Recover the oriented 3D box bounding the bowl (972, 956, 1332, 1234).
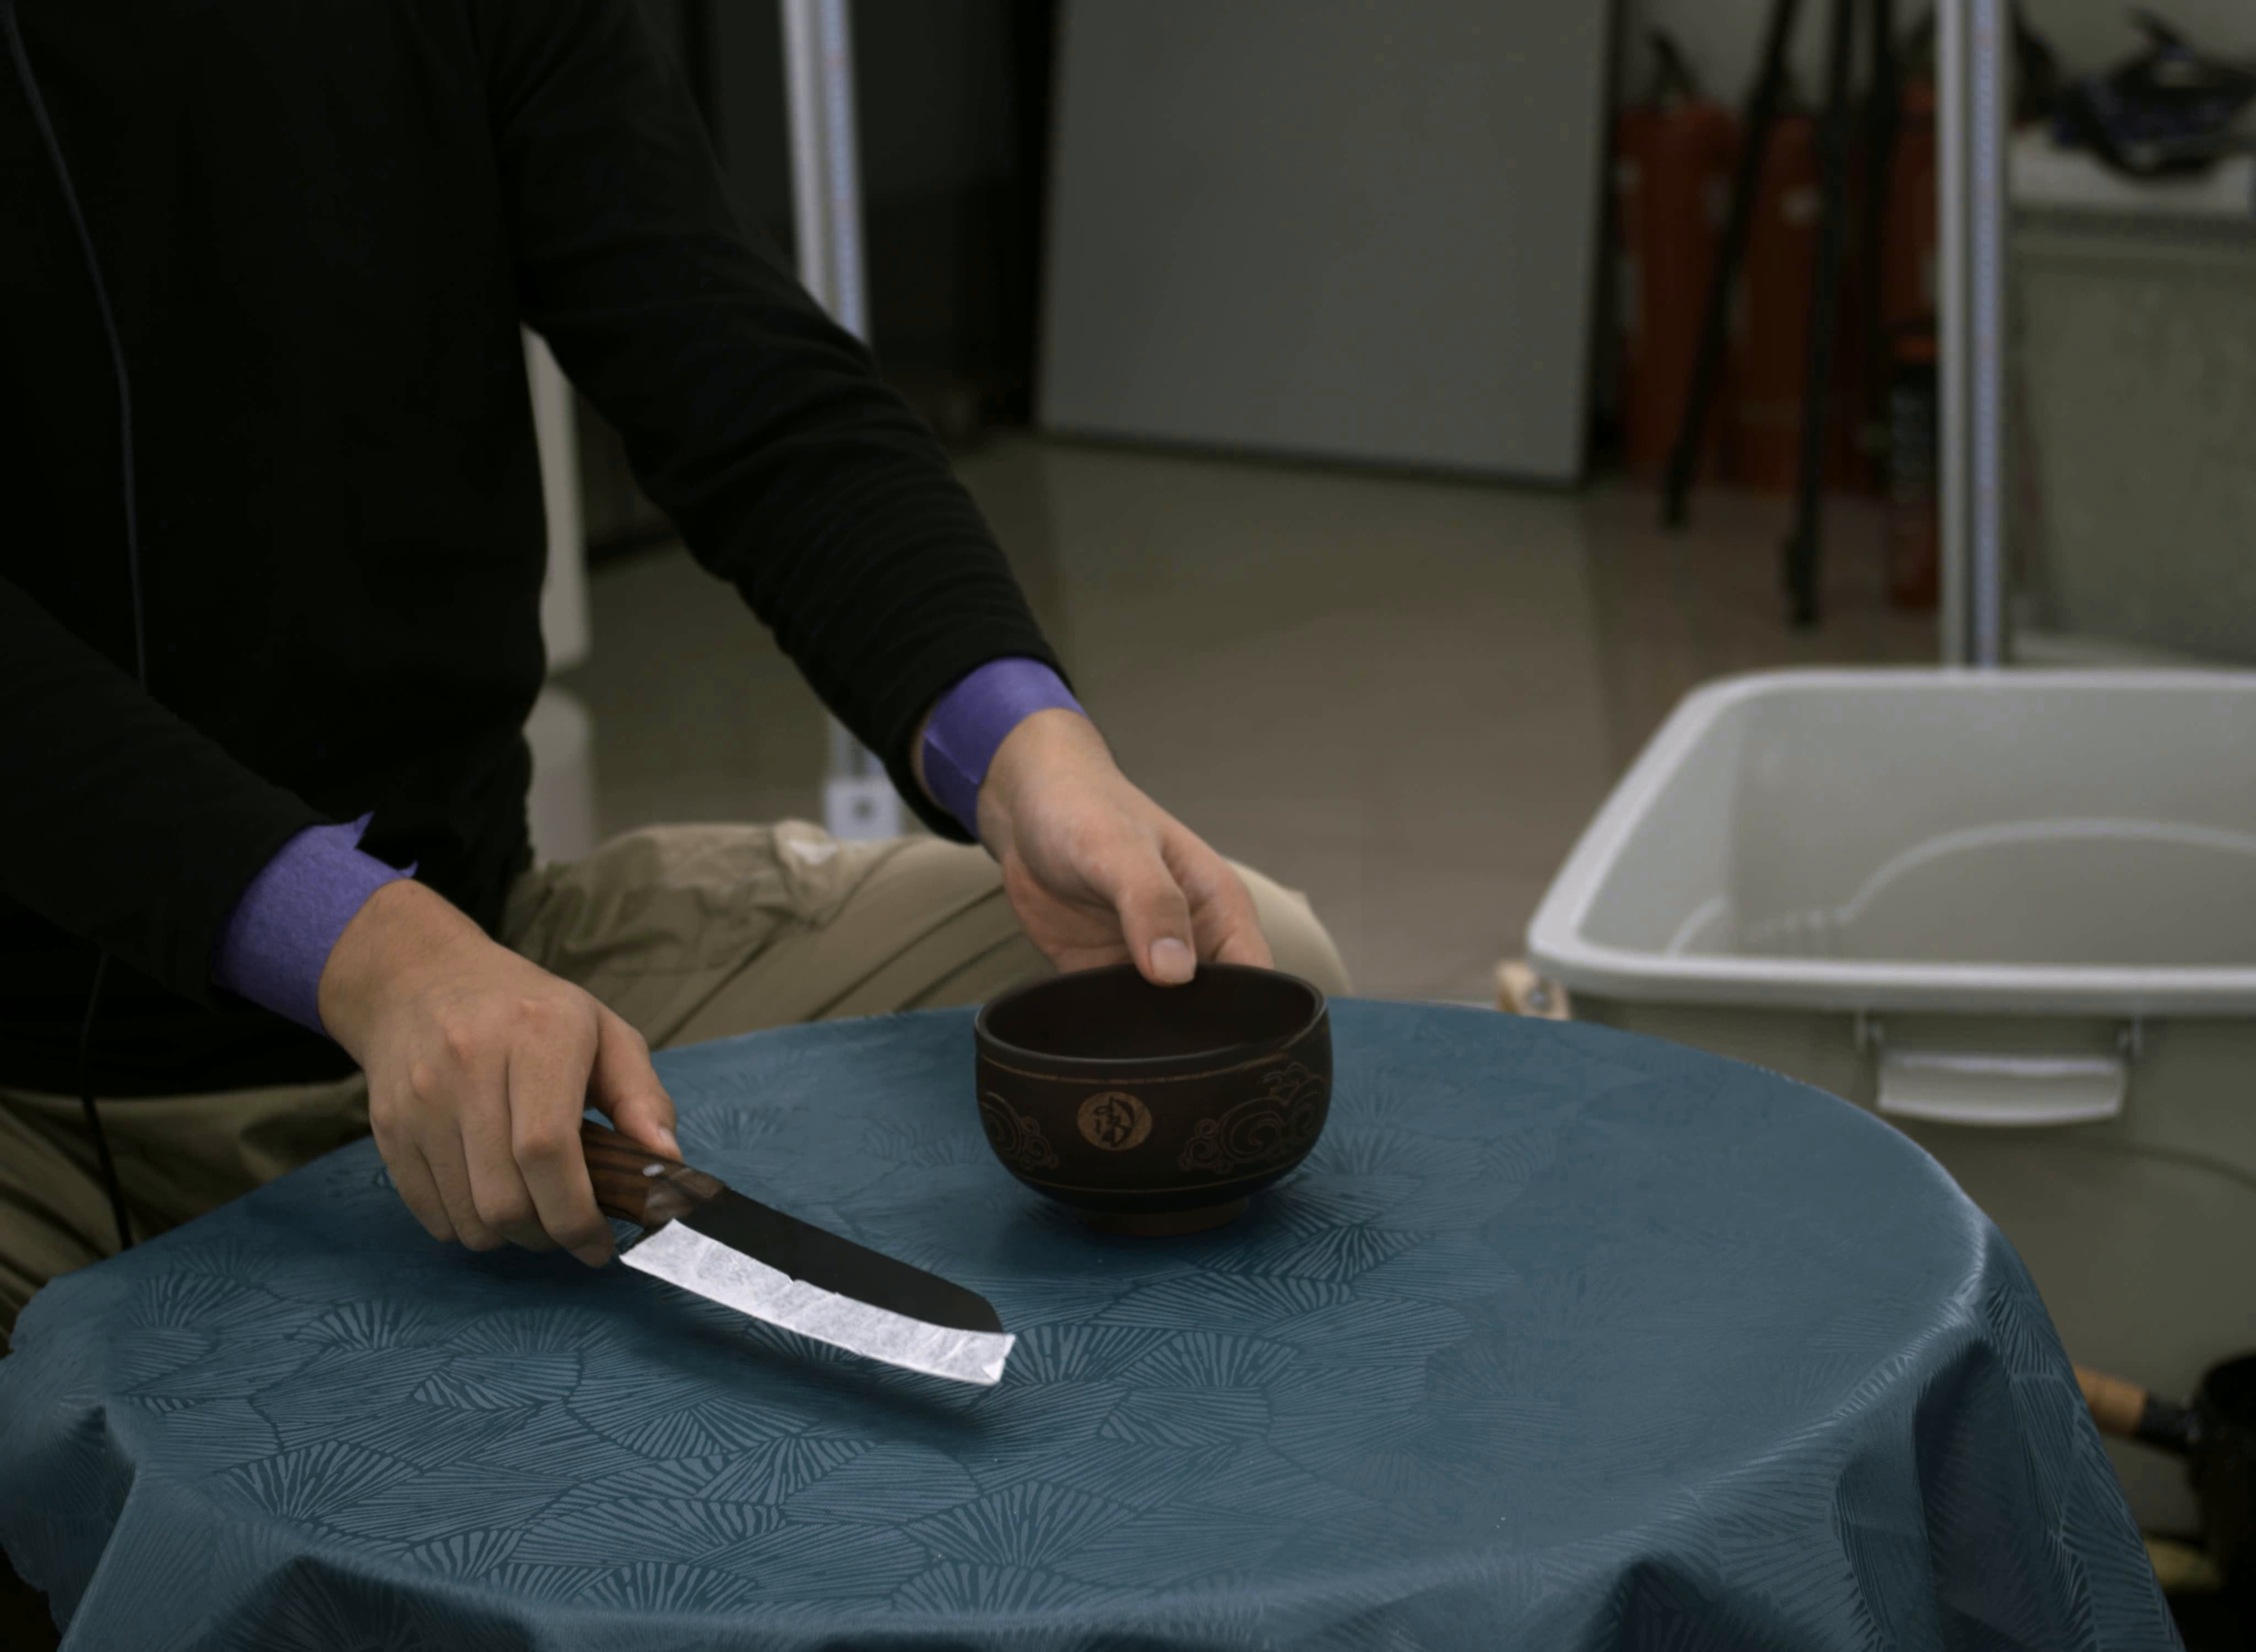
[{"bbox_3d":[0.009,0.090,1.744,0.116,0.070,0.118,-4,13,0],"label":"bowl"}]

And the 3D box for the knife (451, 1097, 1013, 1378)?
[{"bbox_3d":[-0.125,0.127,1.659,0.049,0.020,0.292,-33,30,-28],"label":"knife"}]
